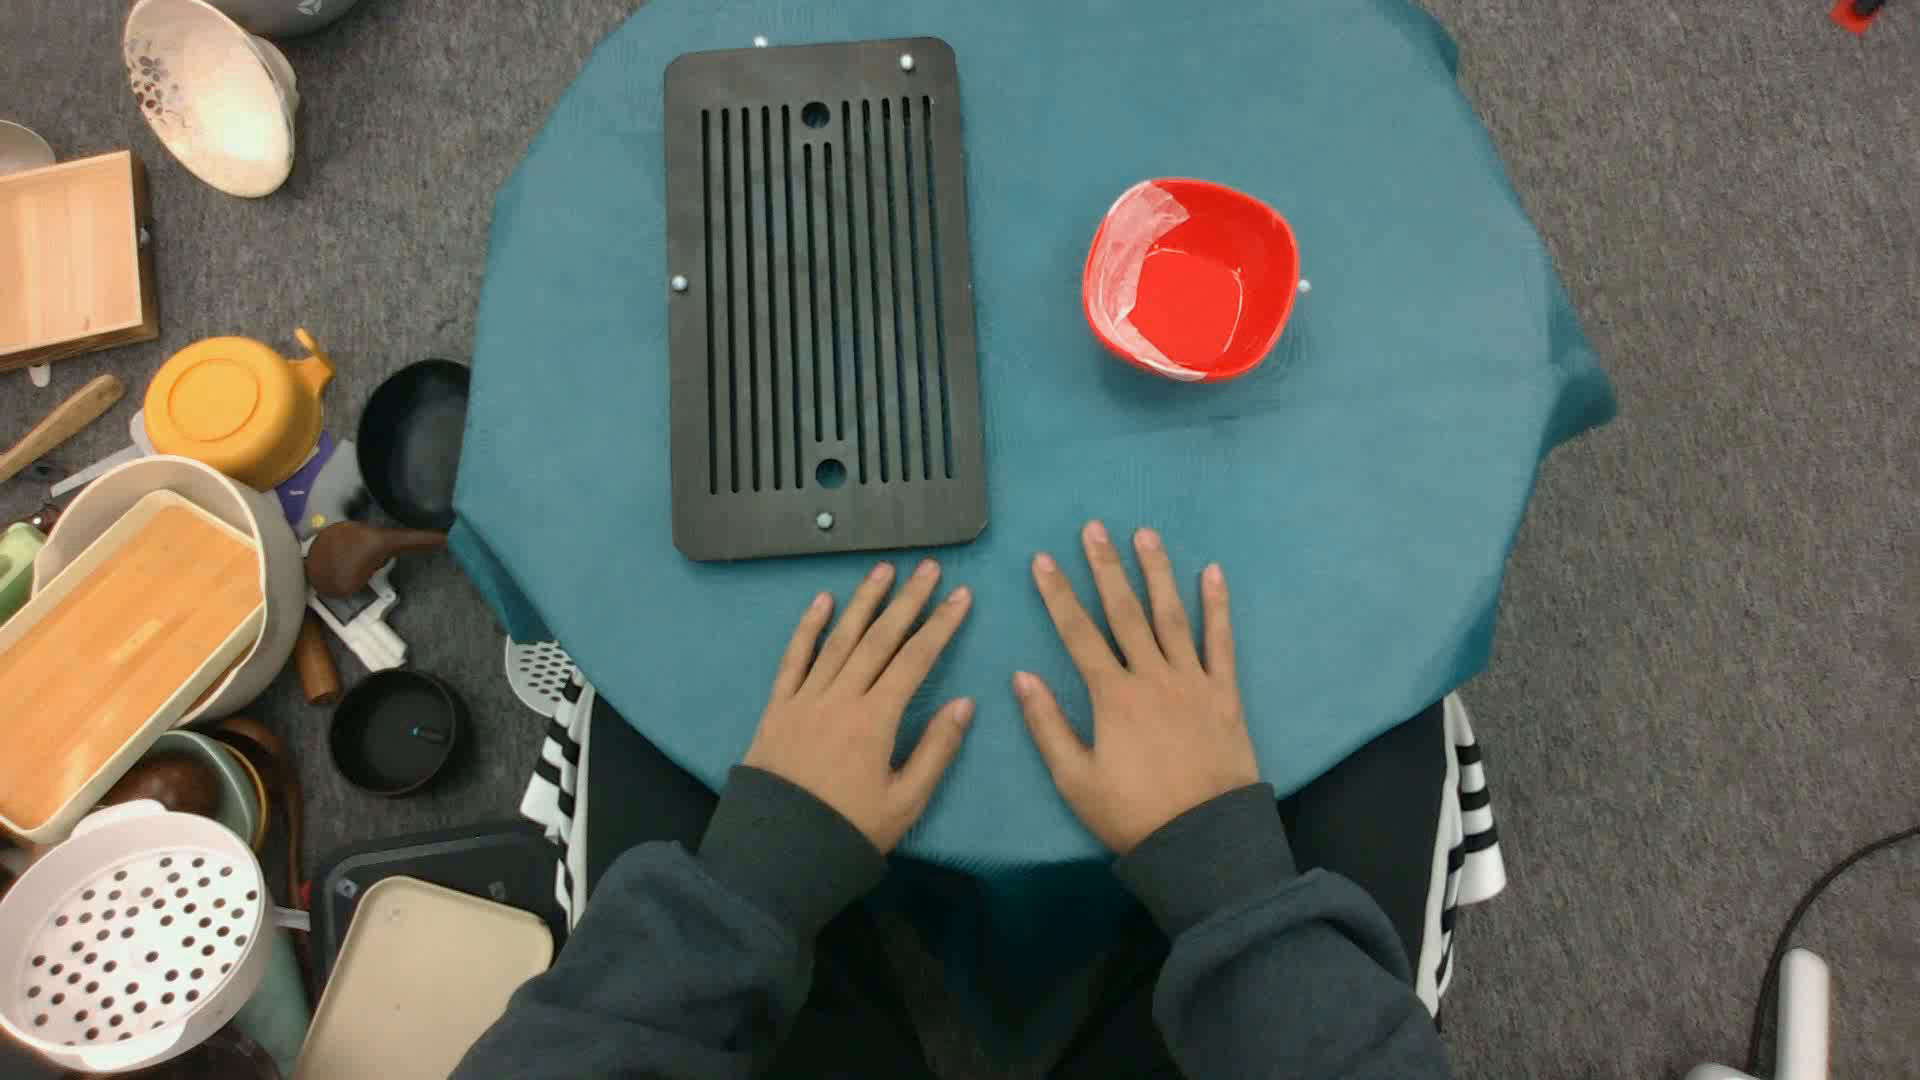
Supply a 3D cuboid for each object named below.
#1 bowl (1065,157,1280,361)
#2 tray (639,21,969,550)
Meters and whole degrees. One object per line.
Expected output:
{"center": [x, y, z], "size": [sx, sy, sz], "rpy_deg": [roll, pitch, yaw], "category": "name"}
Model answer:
{"center": [0.112, -0.144, 0.745], "size": [0.119, 0.051, 0.119], "rpy_deg": [0, 75, 0], "category": "bowl"}
{"center": [-0.090, -0.147, 0.768], "size": [0.170, 0.018, 0.306], "rpy_deg": [-4, 76, 0], "category": "tray"}
